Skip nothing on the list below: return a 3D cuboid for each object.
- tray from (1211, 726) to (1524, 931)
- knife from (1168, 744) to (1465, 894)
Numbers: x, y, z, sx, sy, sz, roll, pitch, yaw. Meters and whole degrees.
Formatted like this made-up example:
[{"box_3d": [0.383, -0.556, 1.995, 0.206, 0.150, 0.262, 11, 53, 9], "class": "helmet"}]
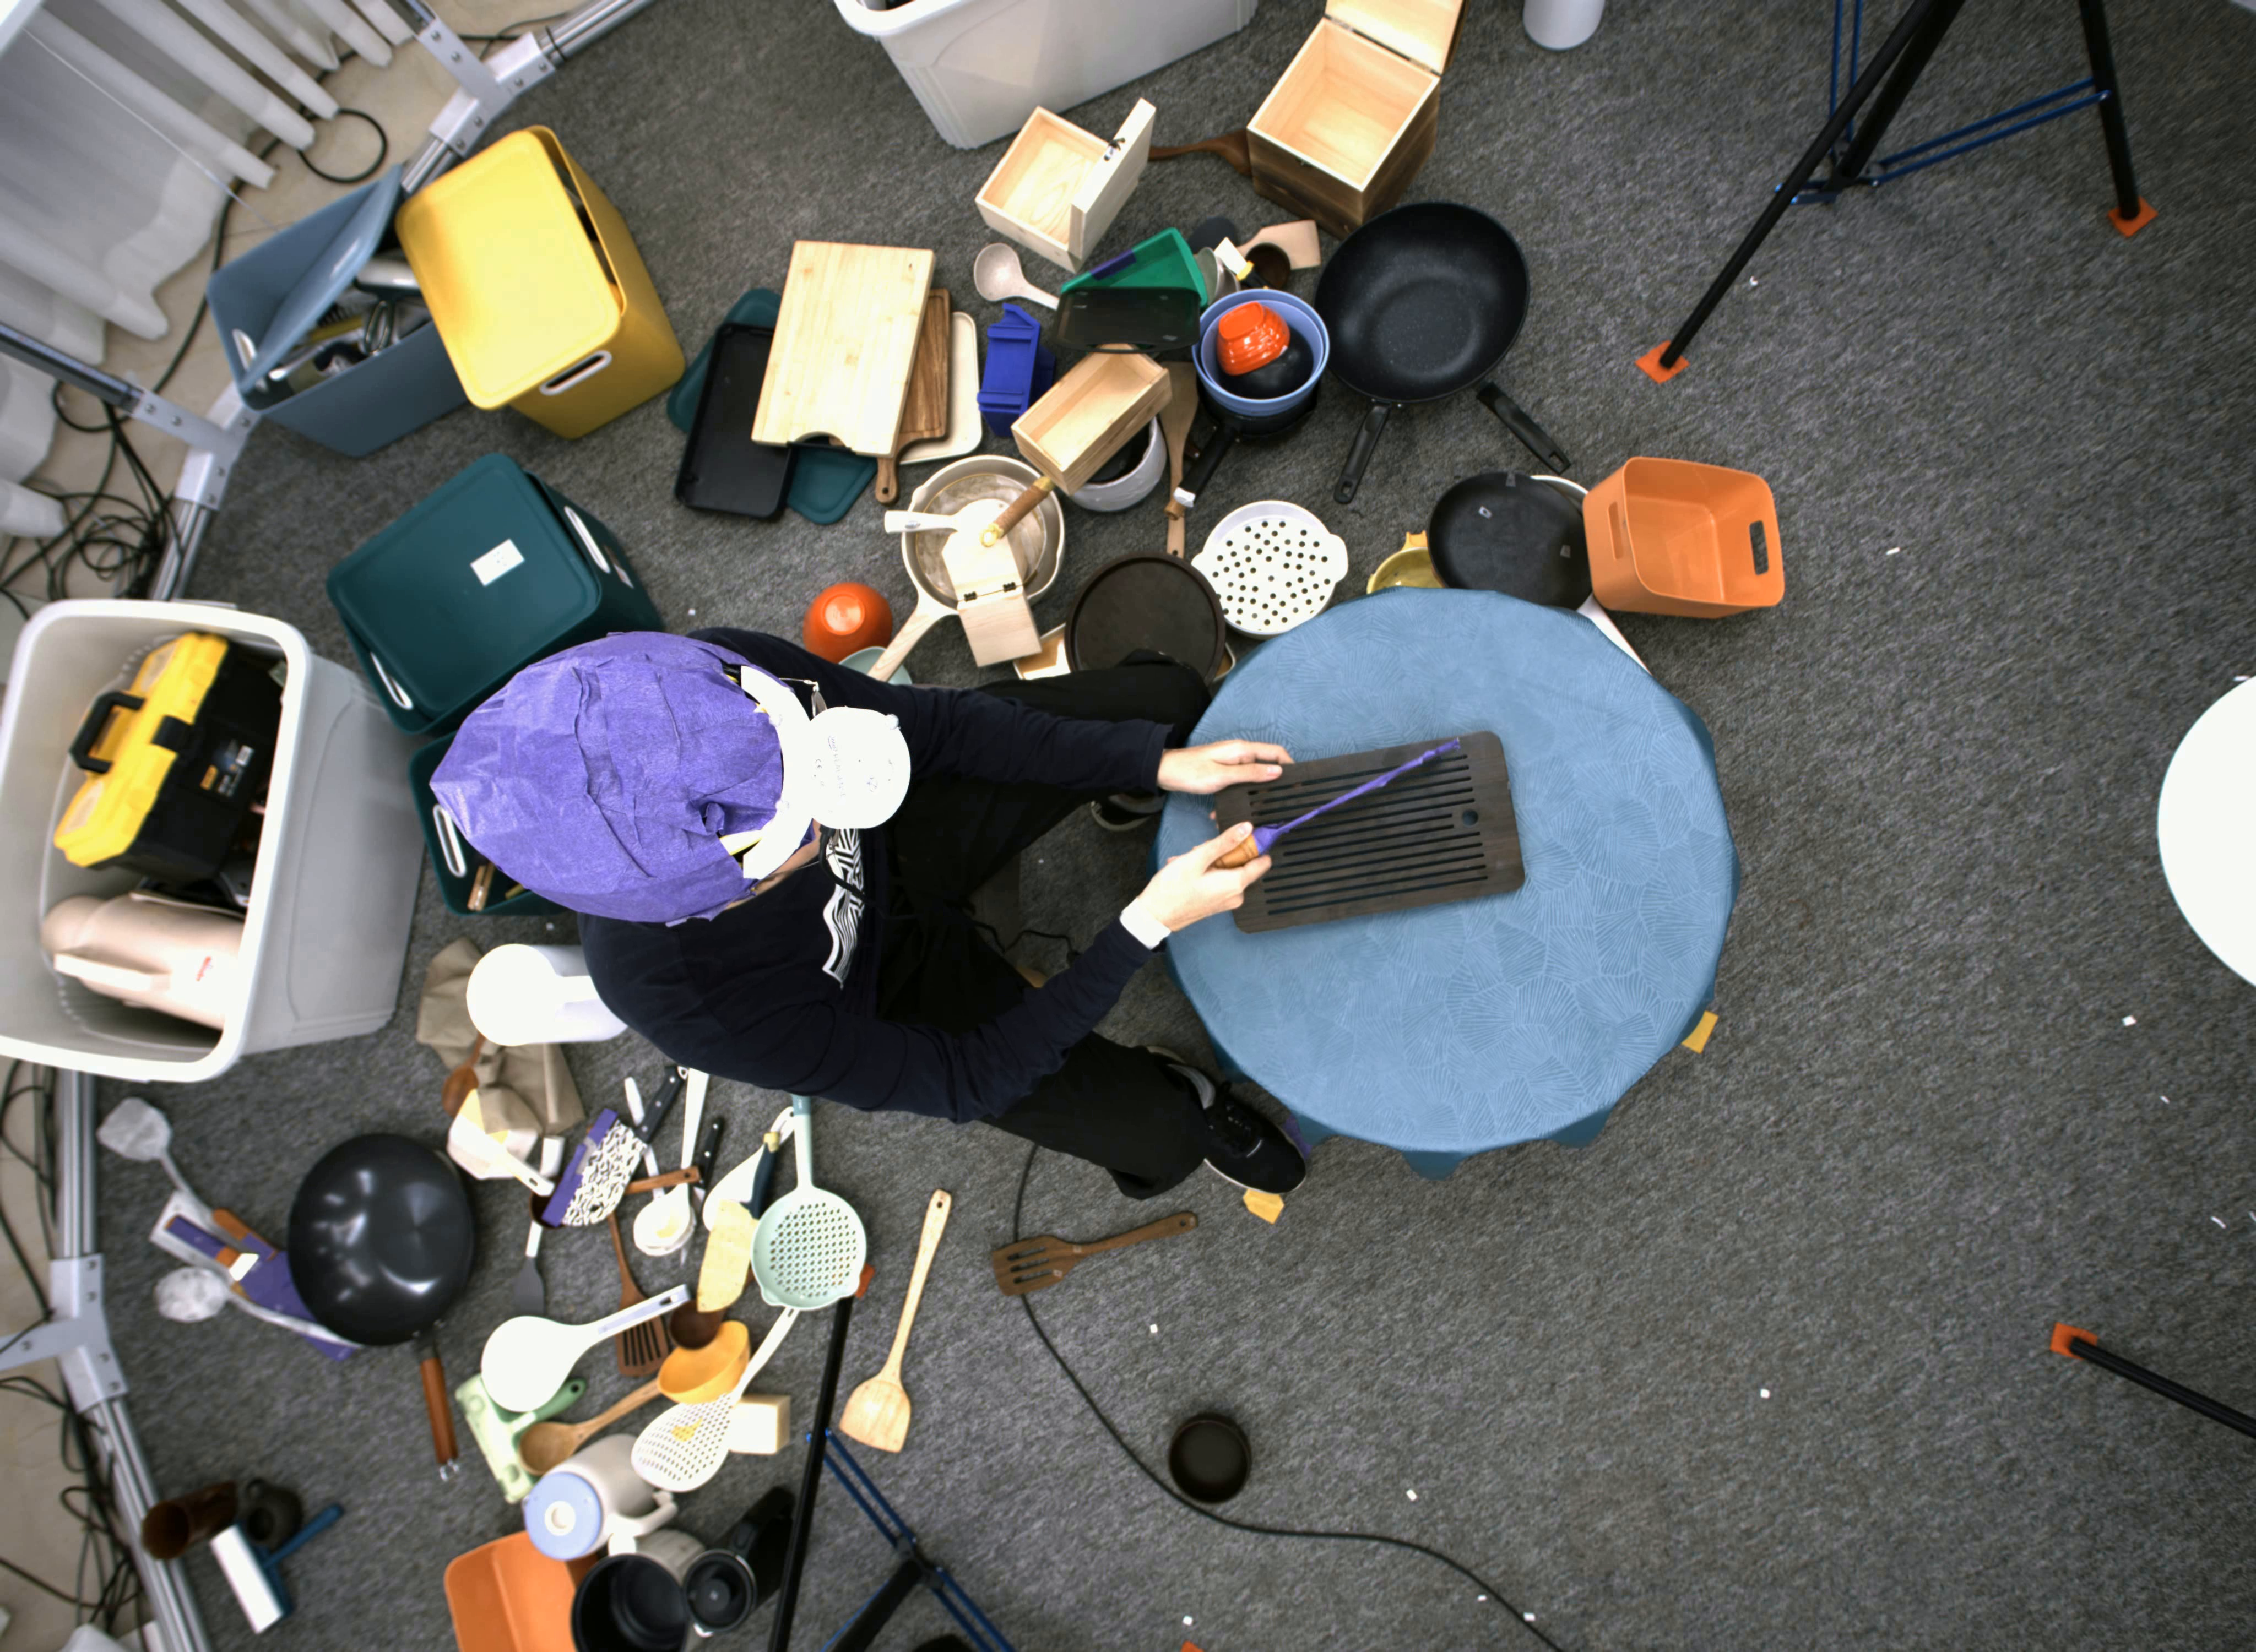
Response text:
[{"box_3d": [0.249, 0.002, 1.444, 0.307, 0.018, 0.170, -10, 90, 7], "class": "tray"}, {"box_3d": [0.190, -0.009, 1.386, 0.317, 0.104, 0.032, -25, 85, 7], "class": "knife"}]
